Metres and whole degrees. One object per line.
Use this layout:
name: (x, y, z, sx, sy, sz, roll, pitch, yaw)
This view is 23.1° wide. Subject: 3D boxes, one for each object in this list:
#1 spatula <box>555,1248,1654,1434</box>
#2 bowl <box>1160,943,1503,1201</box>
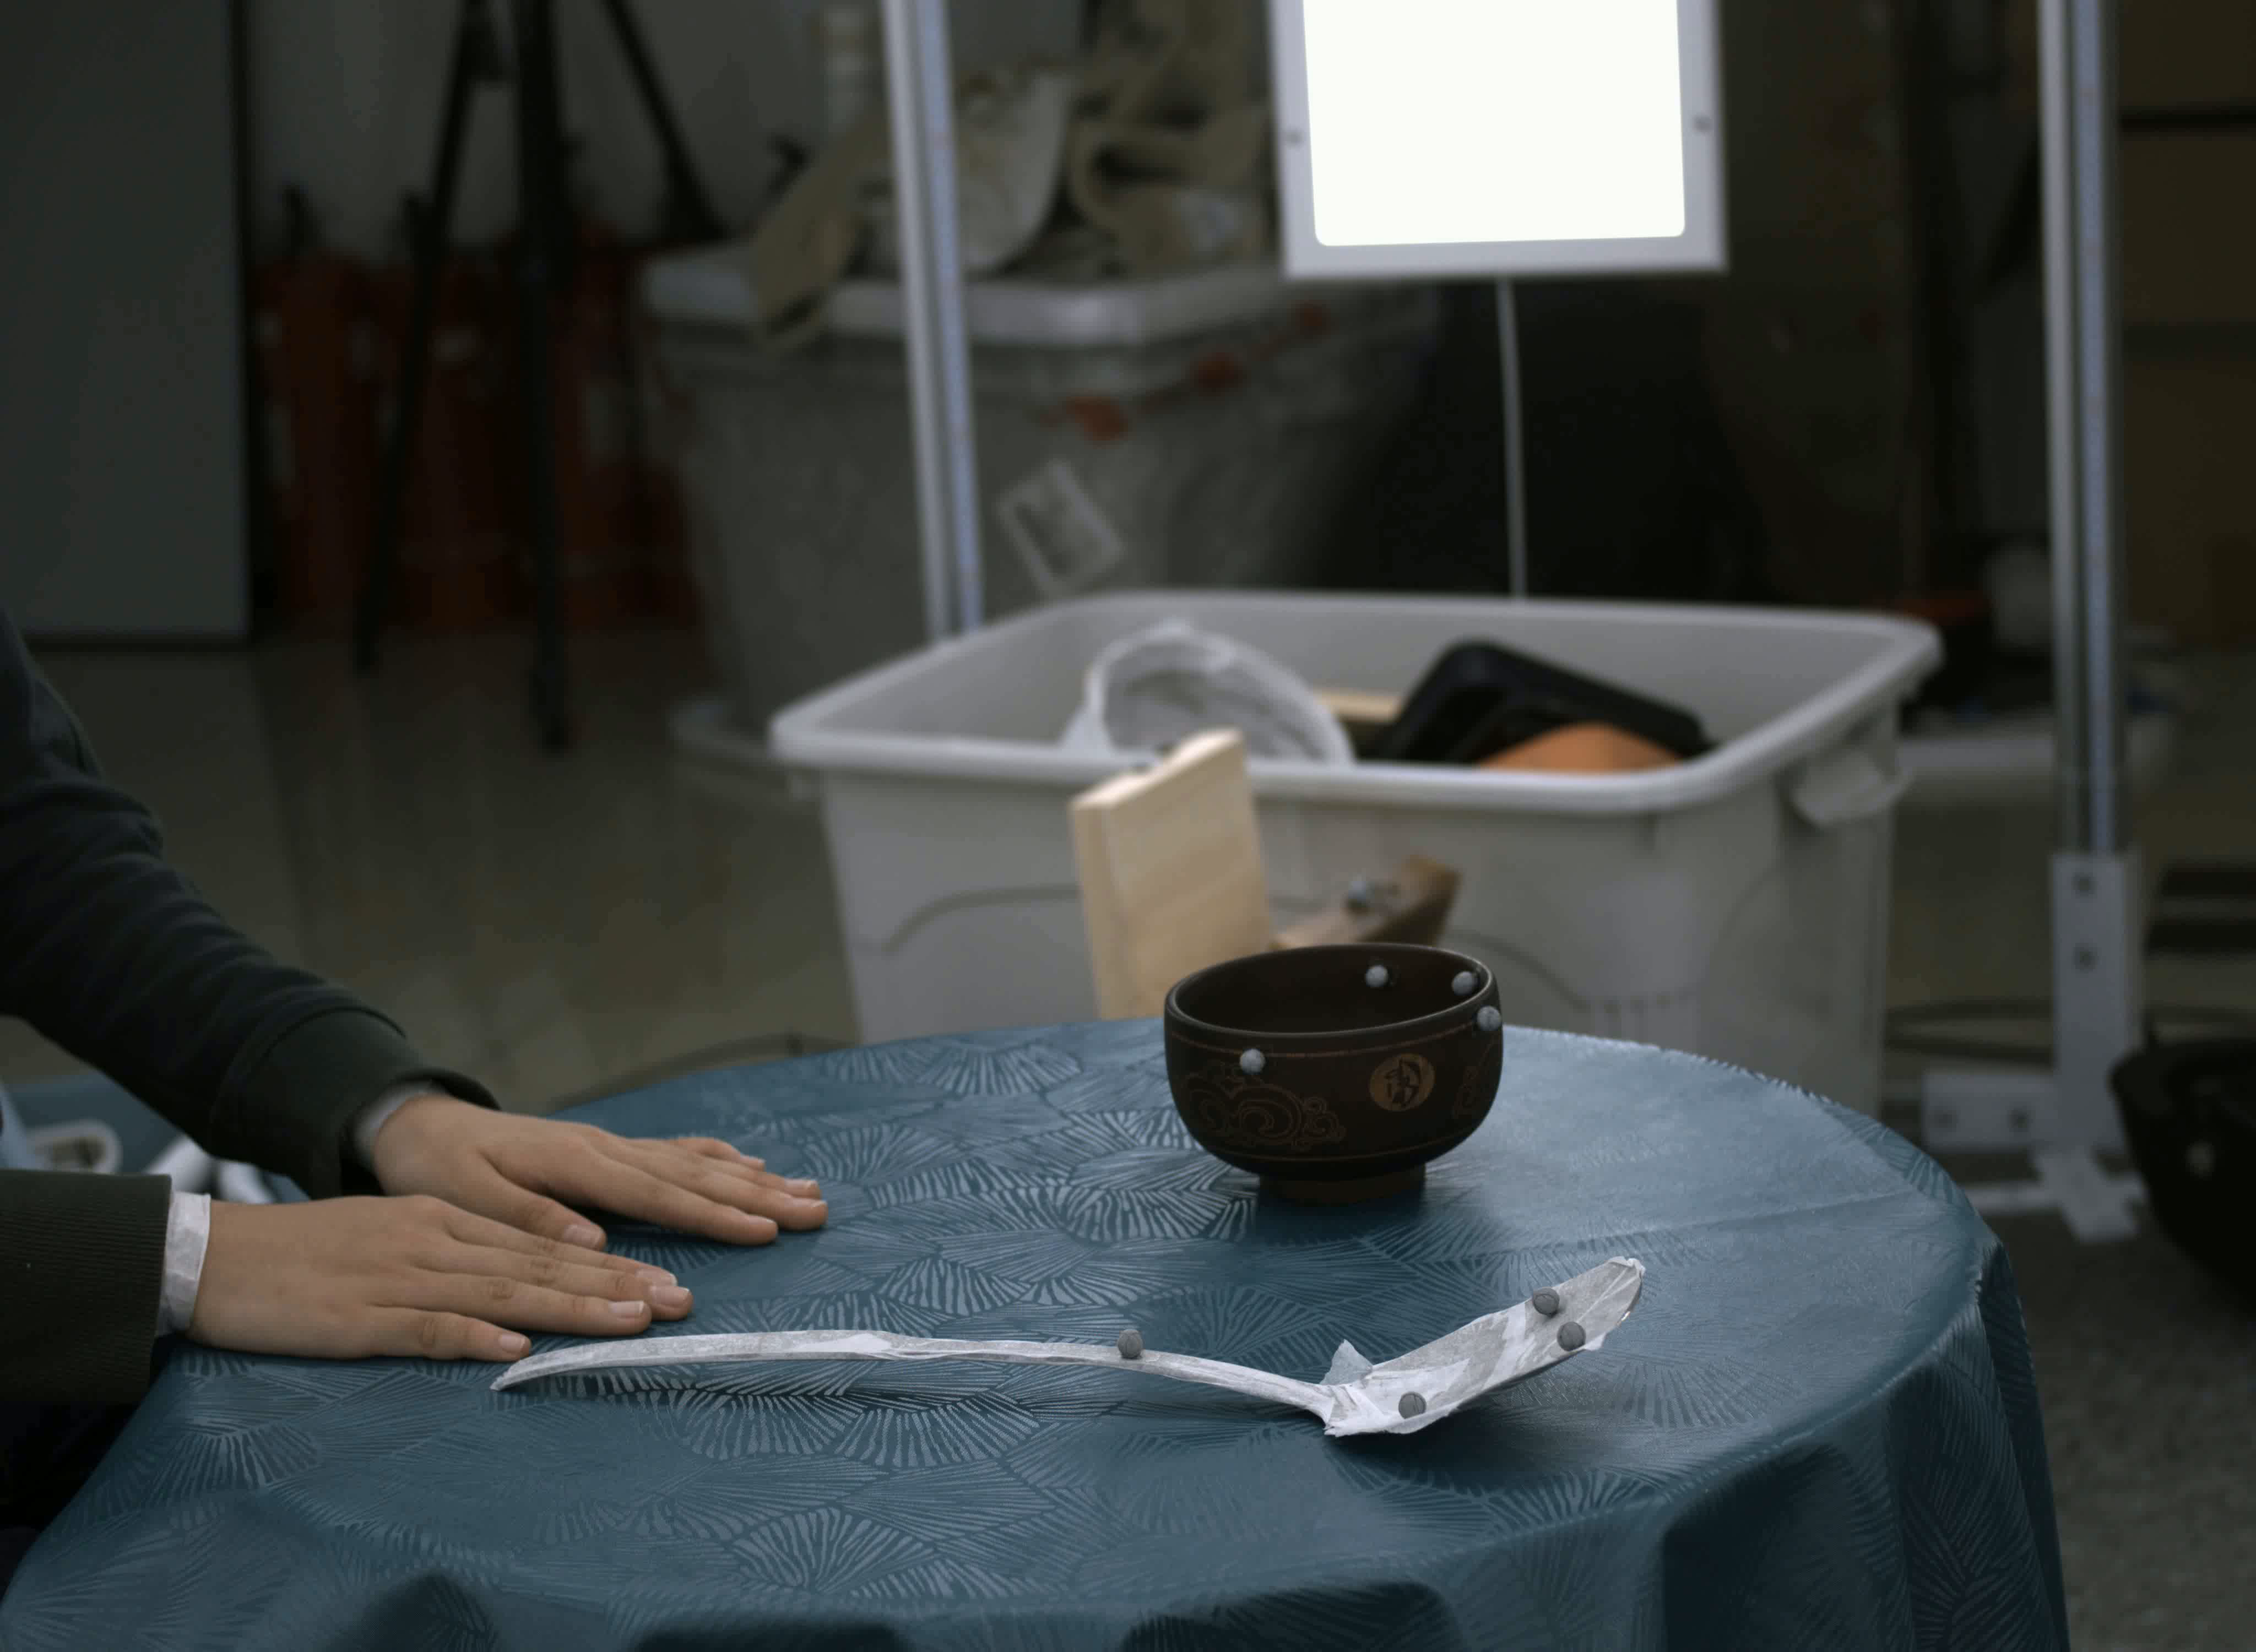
spatula: (-0.018, 0.158, 1.695, 0.370, 0.045, 0.097, 1, 17, 21)
bowl: (0.071, 0.087, 1.883, 0.118, 0.070, 0.118, -6, 12, 0)
